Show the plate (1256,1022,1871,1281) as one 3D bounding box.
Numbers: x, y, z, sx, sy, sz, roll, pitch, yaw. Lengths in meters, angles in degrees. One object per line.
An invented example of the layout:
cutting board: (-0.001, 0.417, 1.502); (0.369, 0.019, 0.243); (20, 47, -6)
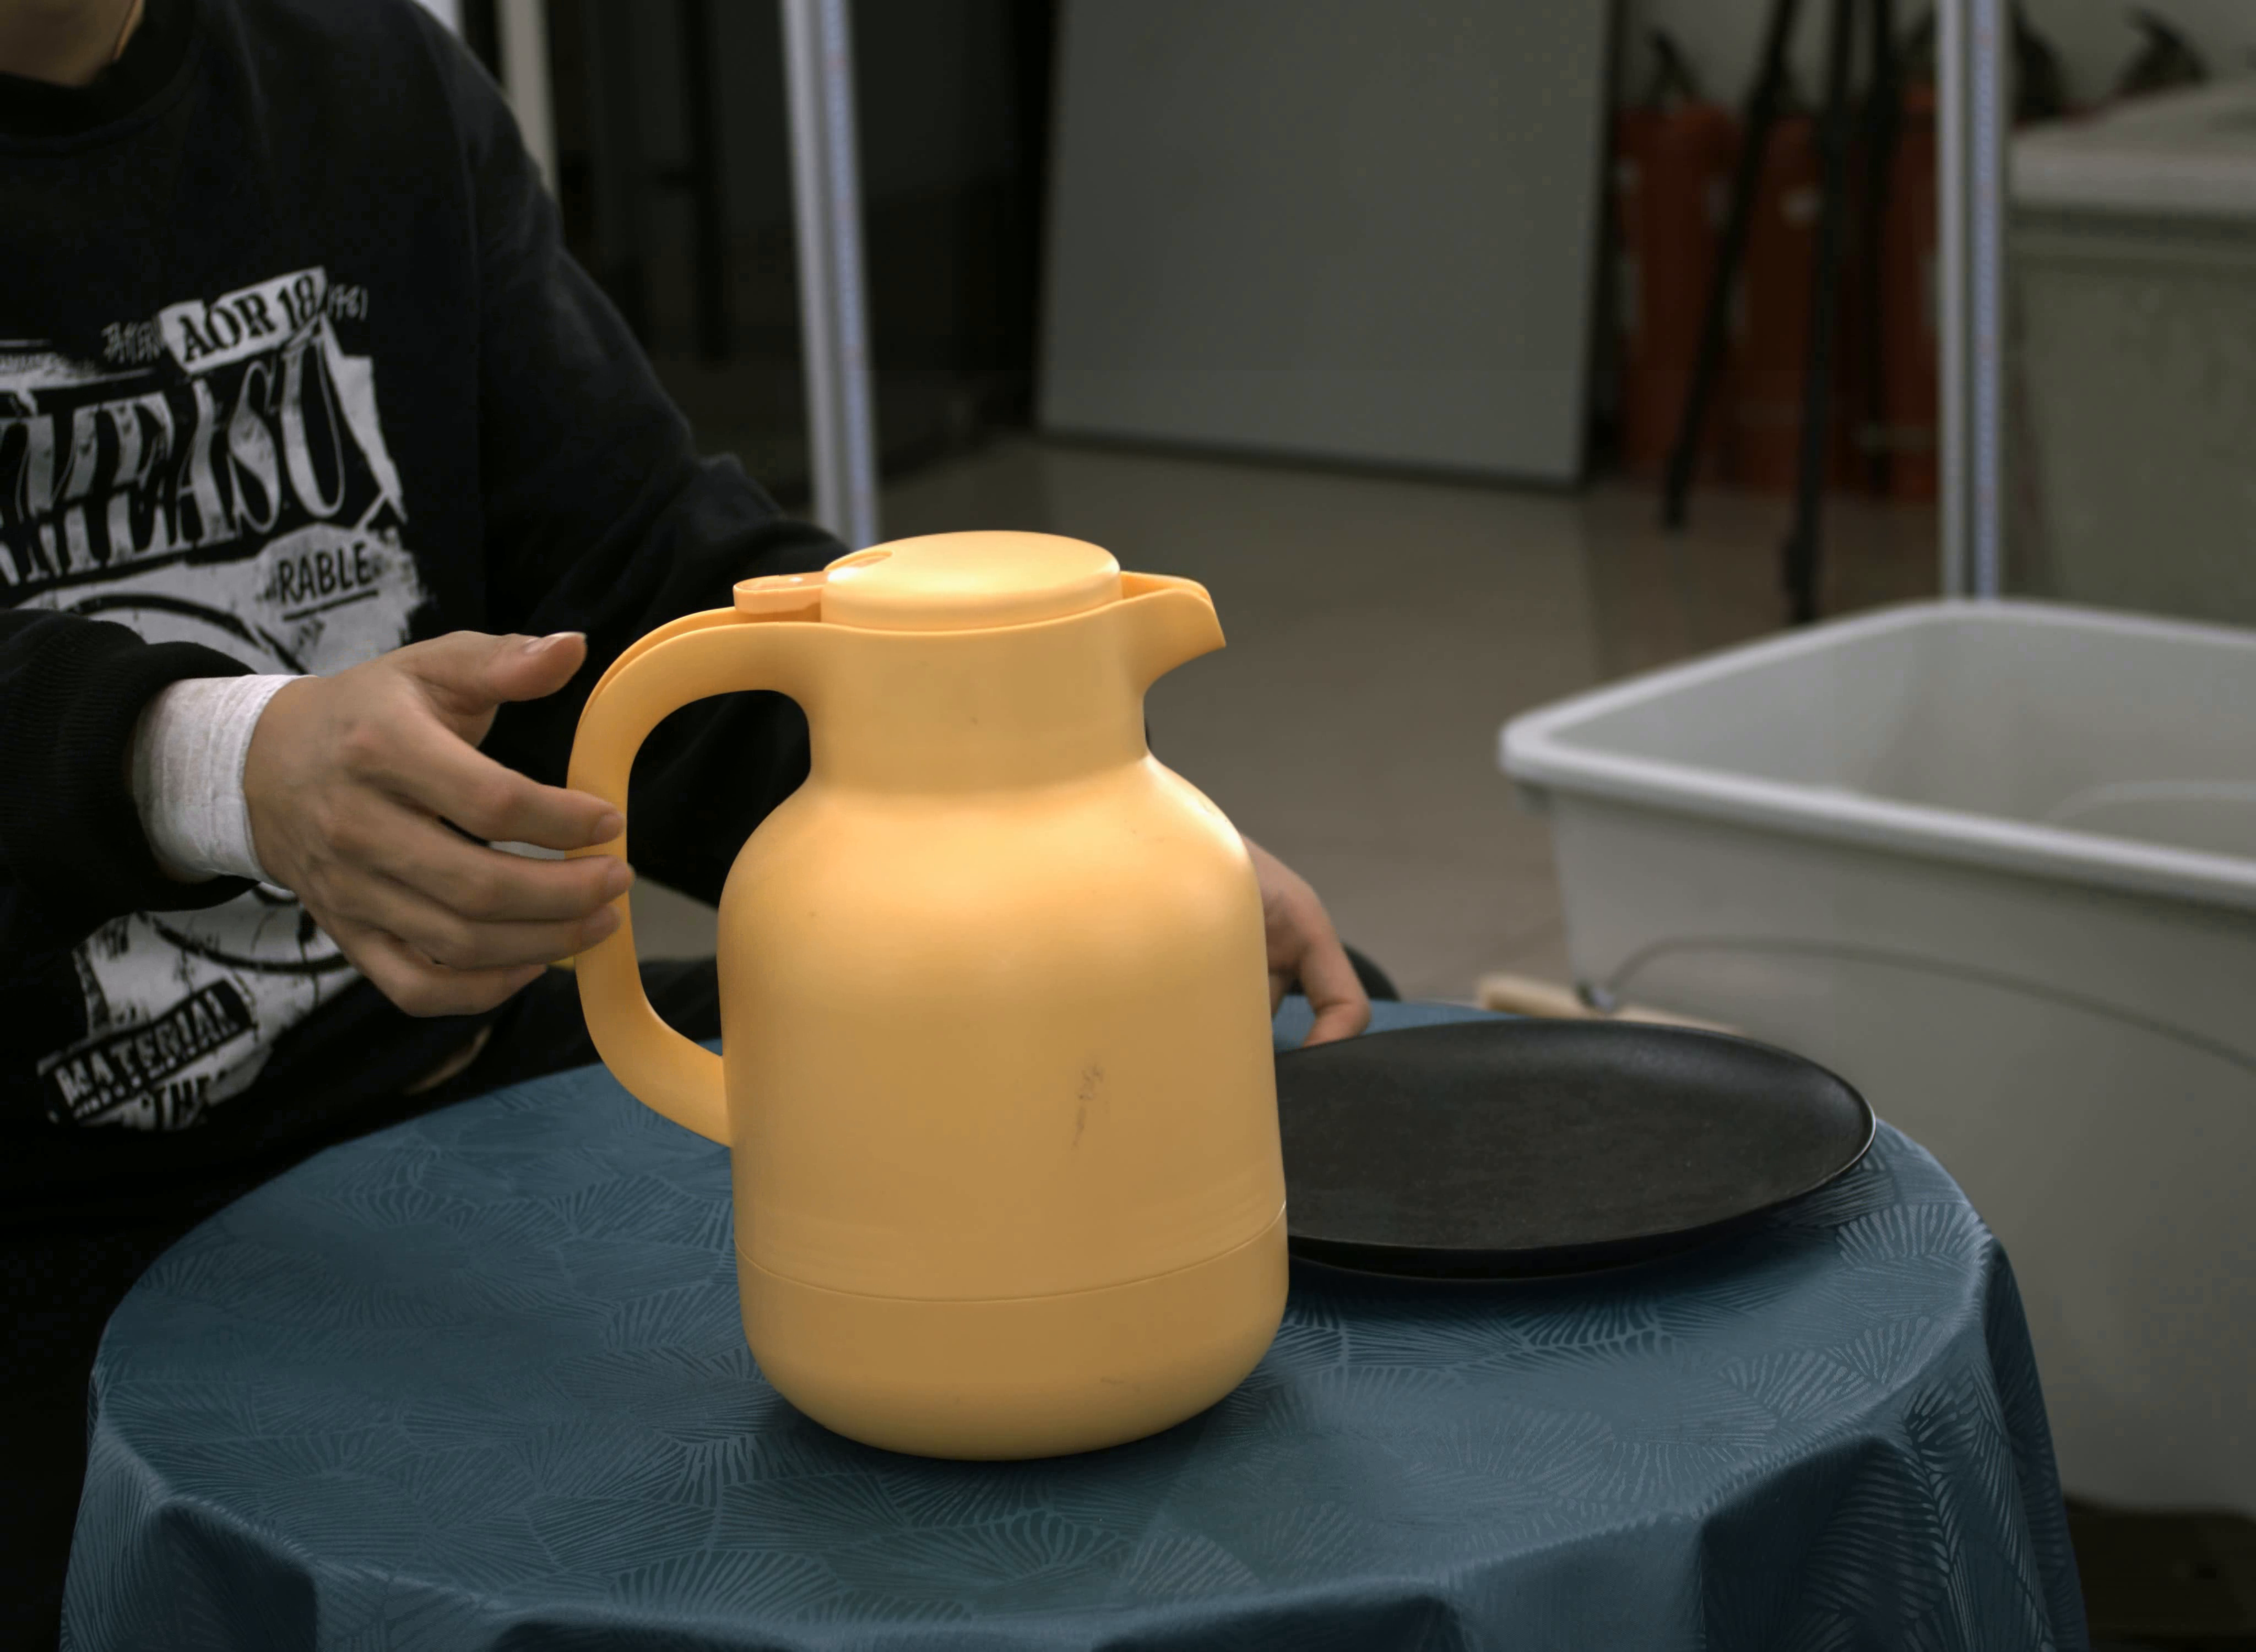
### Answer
plate: (0.120, 0.107, 1.743); (0.241, 0.024, 0.245); (-4, 14, 0)

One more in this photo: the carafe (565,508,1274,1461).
carafe: (-0.060, 0.042, 1.562); (0.200, 0.263, 0.163); (-2, 11, 1)
